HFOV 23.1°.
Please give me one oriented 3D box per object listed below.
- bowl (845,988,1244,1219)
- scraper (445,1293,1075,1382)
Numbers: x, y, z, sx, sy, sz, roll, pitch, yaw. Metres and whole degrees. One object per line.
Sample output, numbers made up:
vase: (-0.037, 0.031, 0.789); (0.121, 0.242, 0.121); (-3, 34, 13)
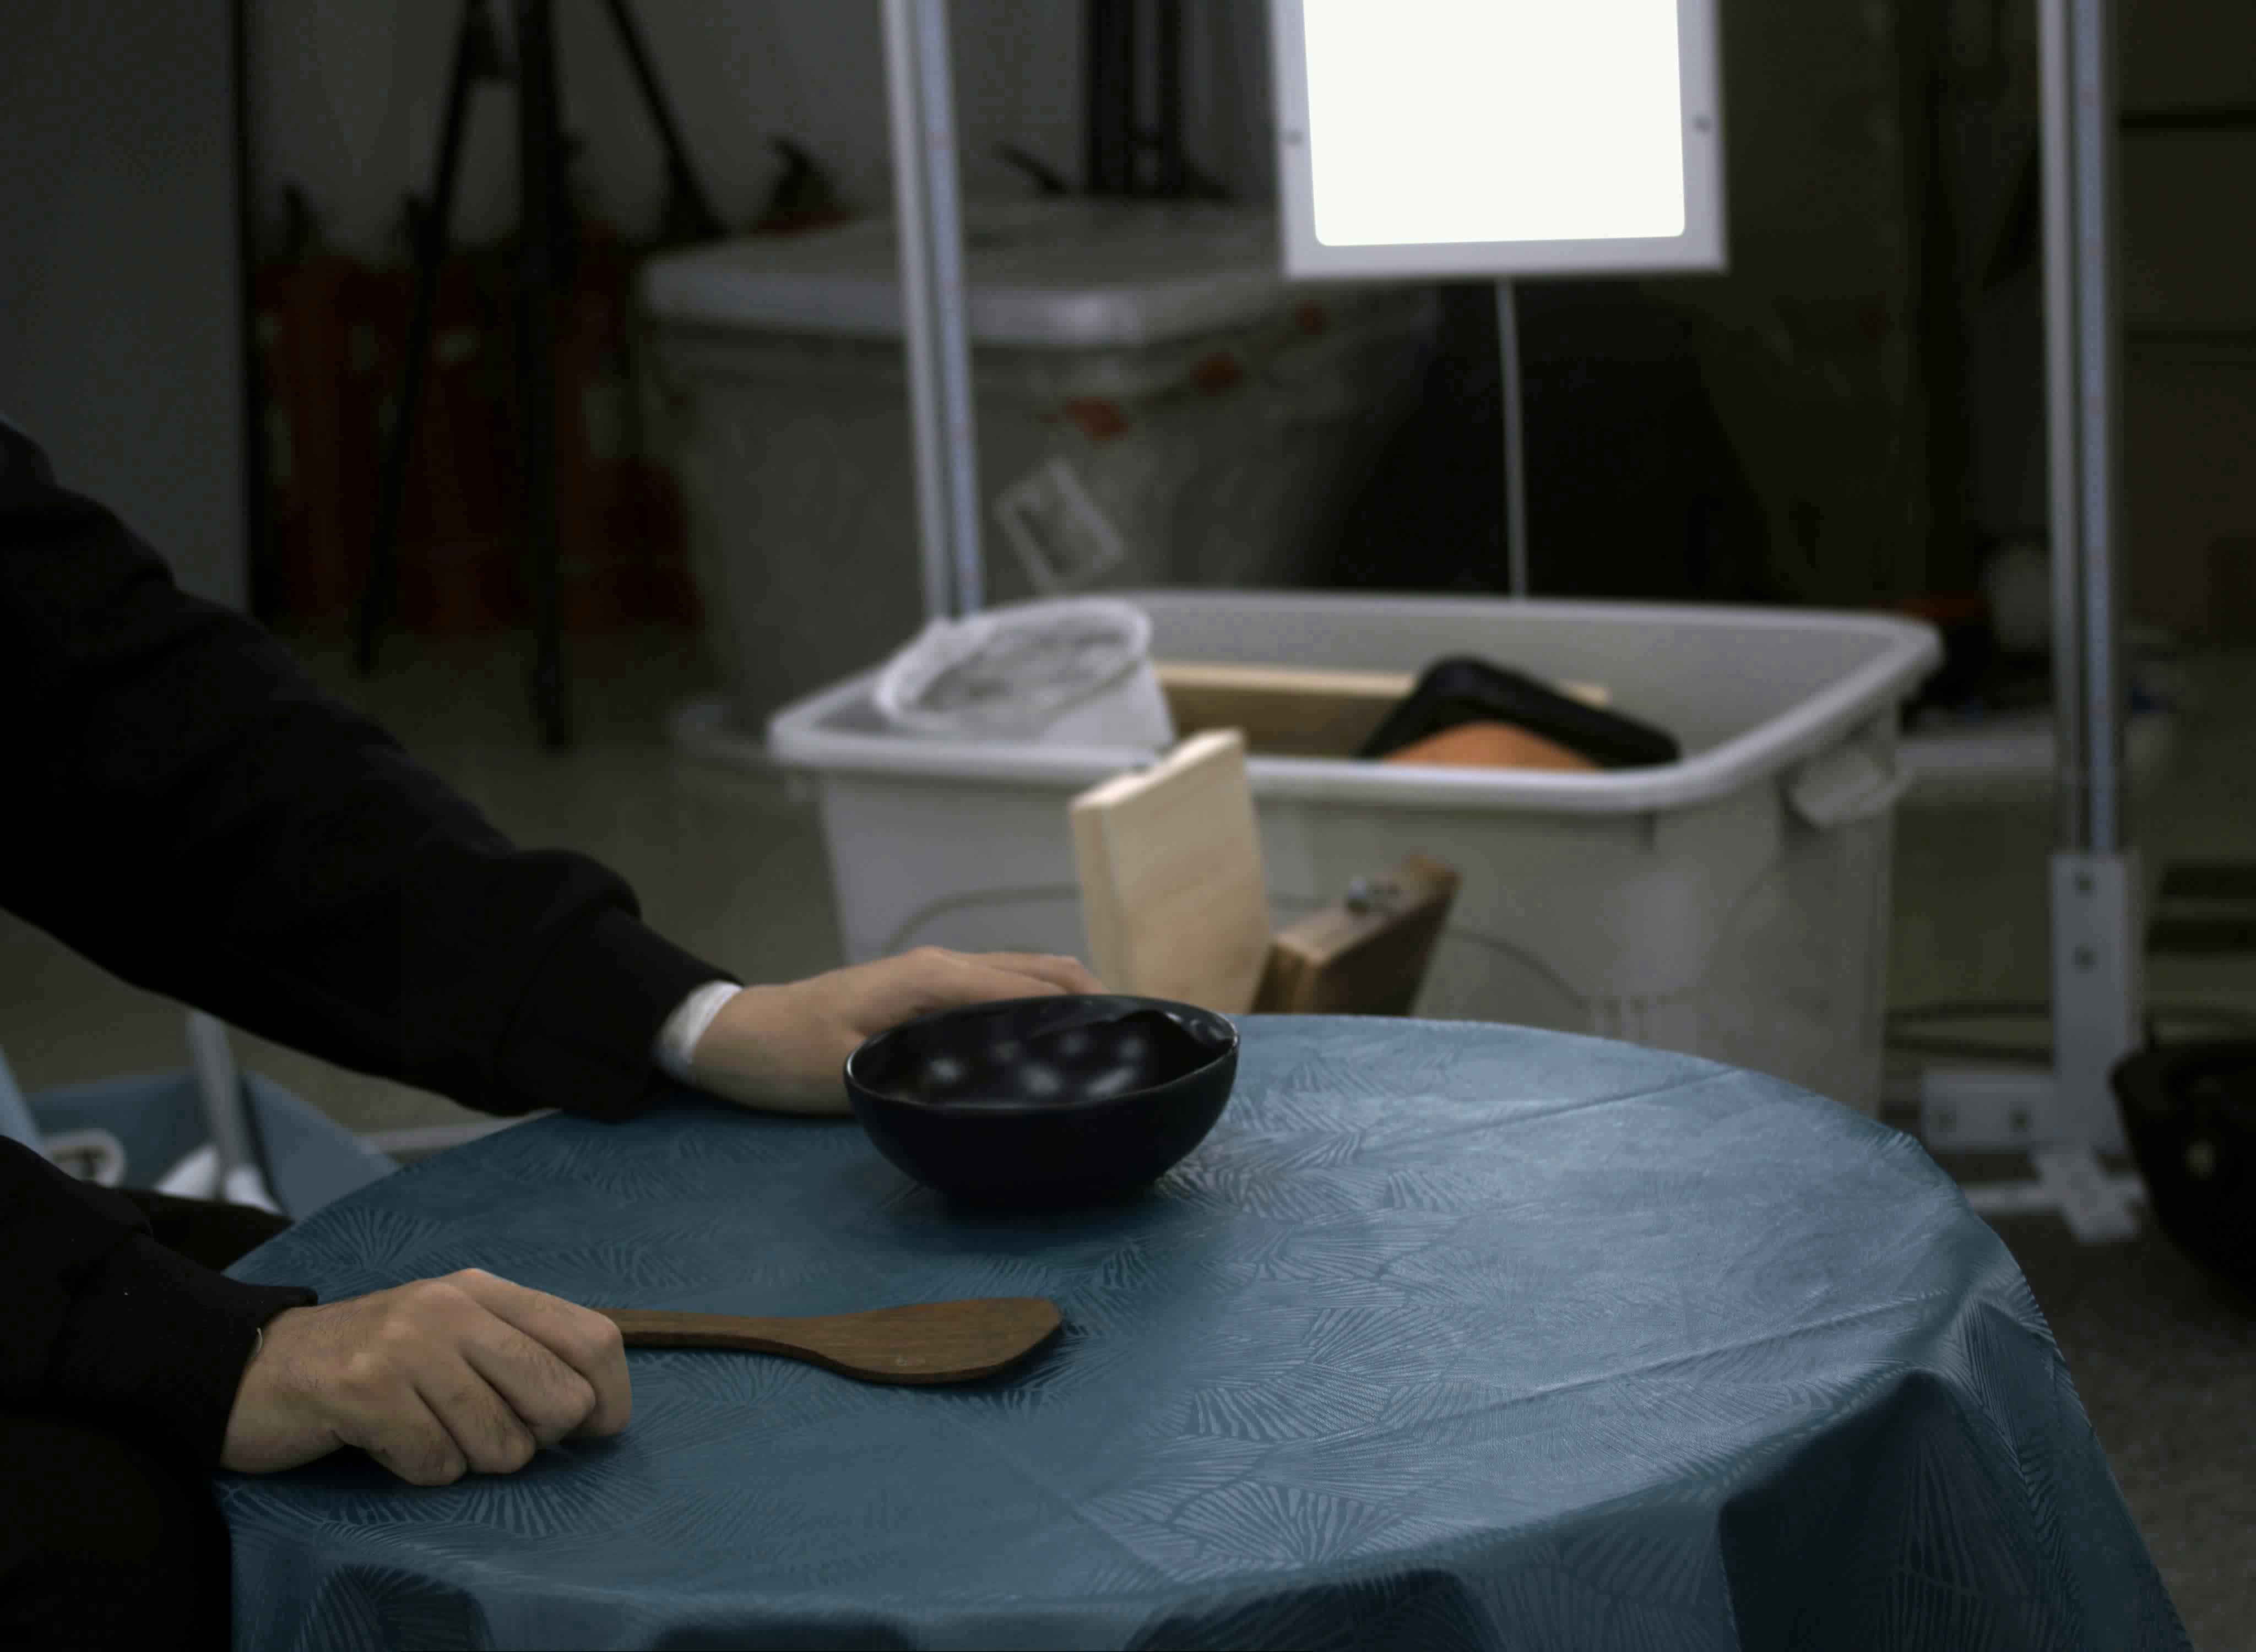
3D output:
bowl: (-0.027, 0.101, 1.913); (0.140, 0.050, 0.140); (-7, 16, 1)
scraper: (-0.122, 0.163, 1.776); (0.214, 0.011, 0.074); (0, 13, 21)
